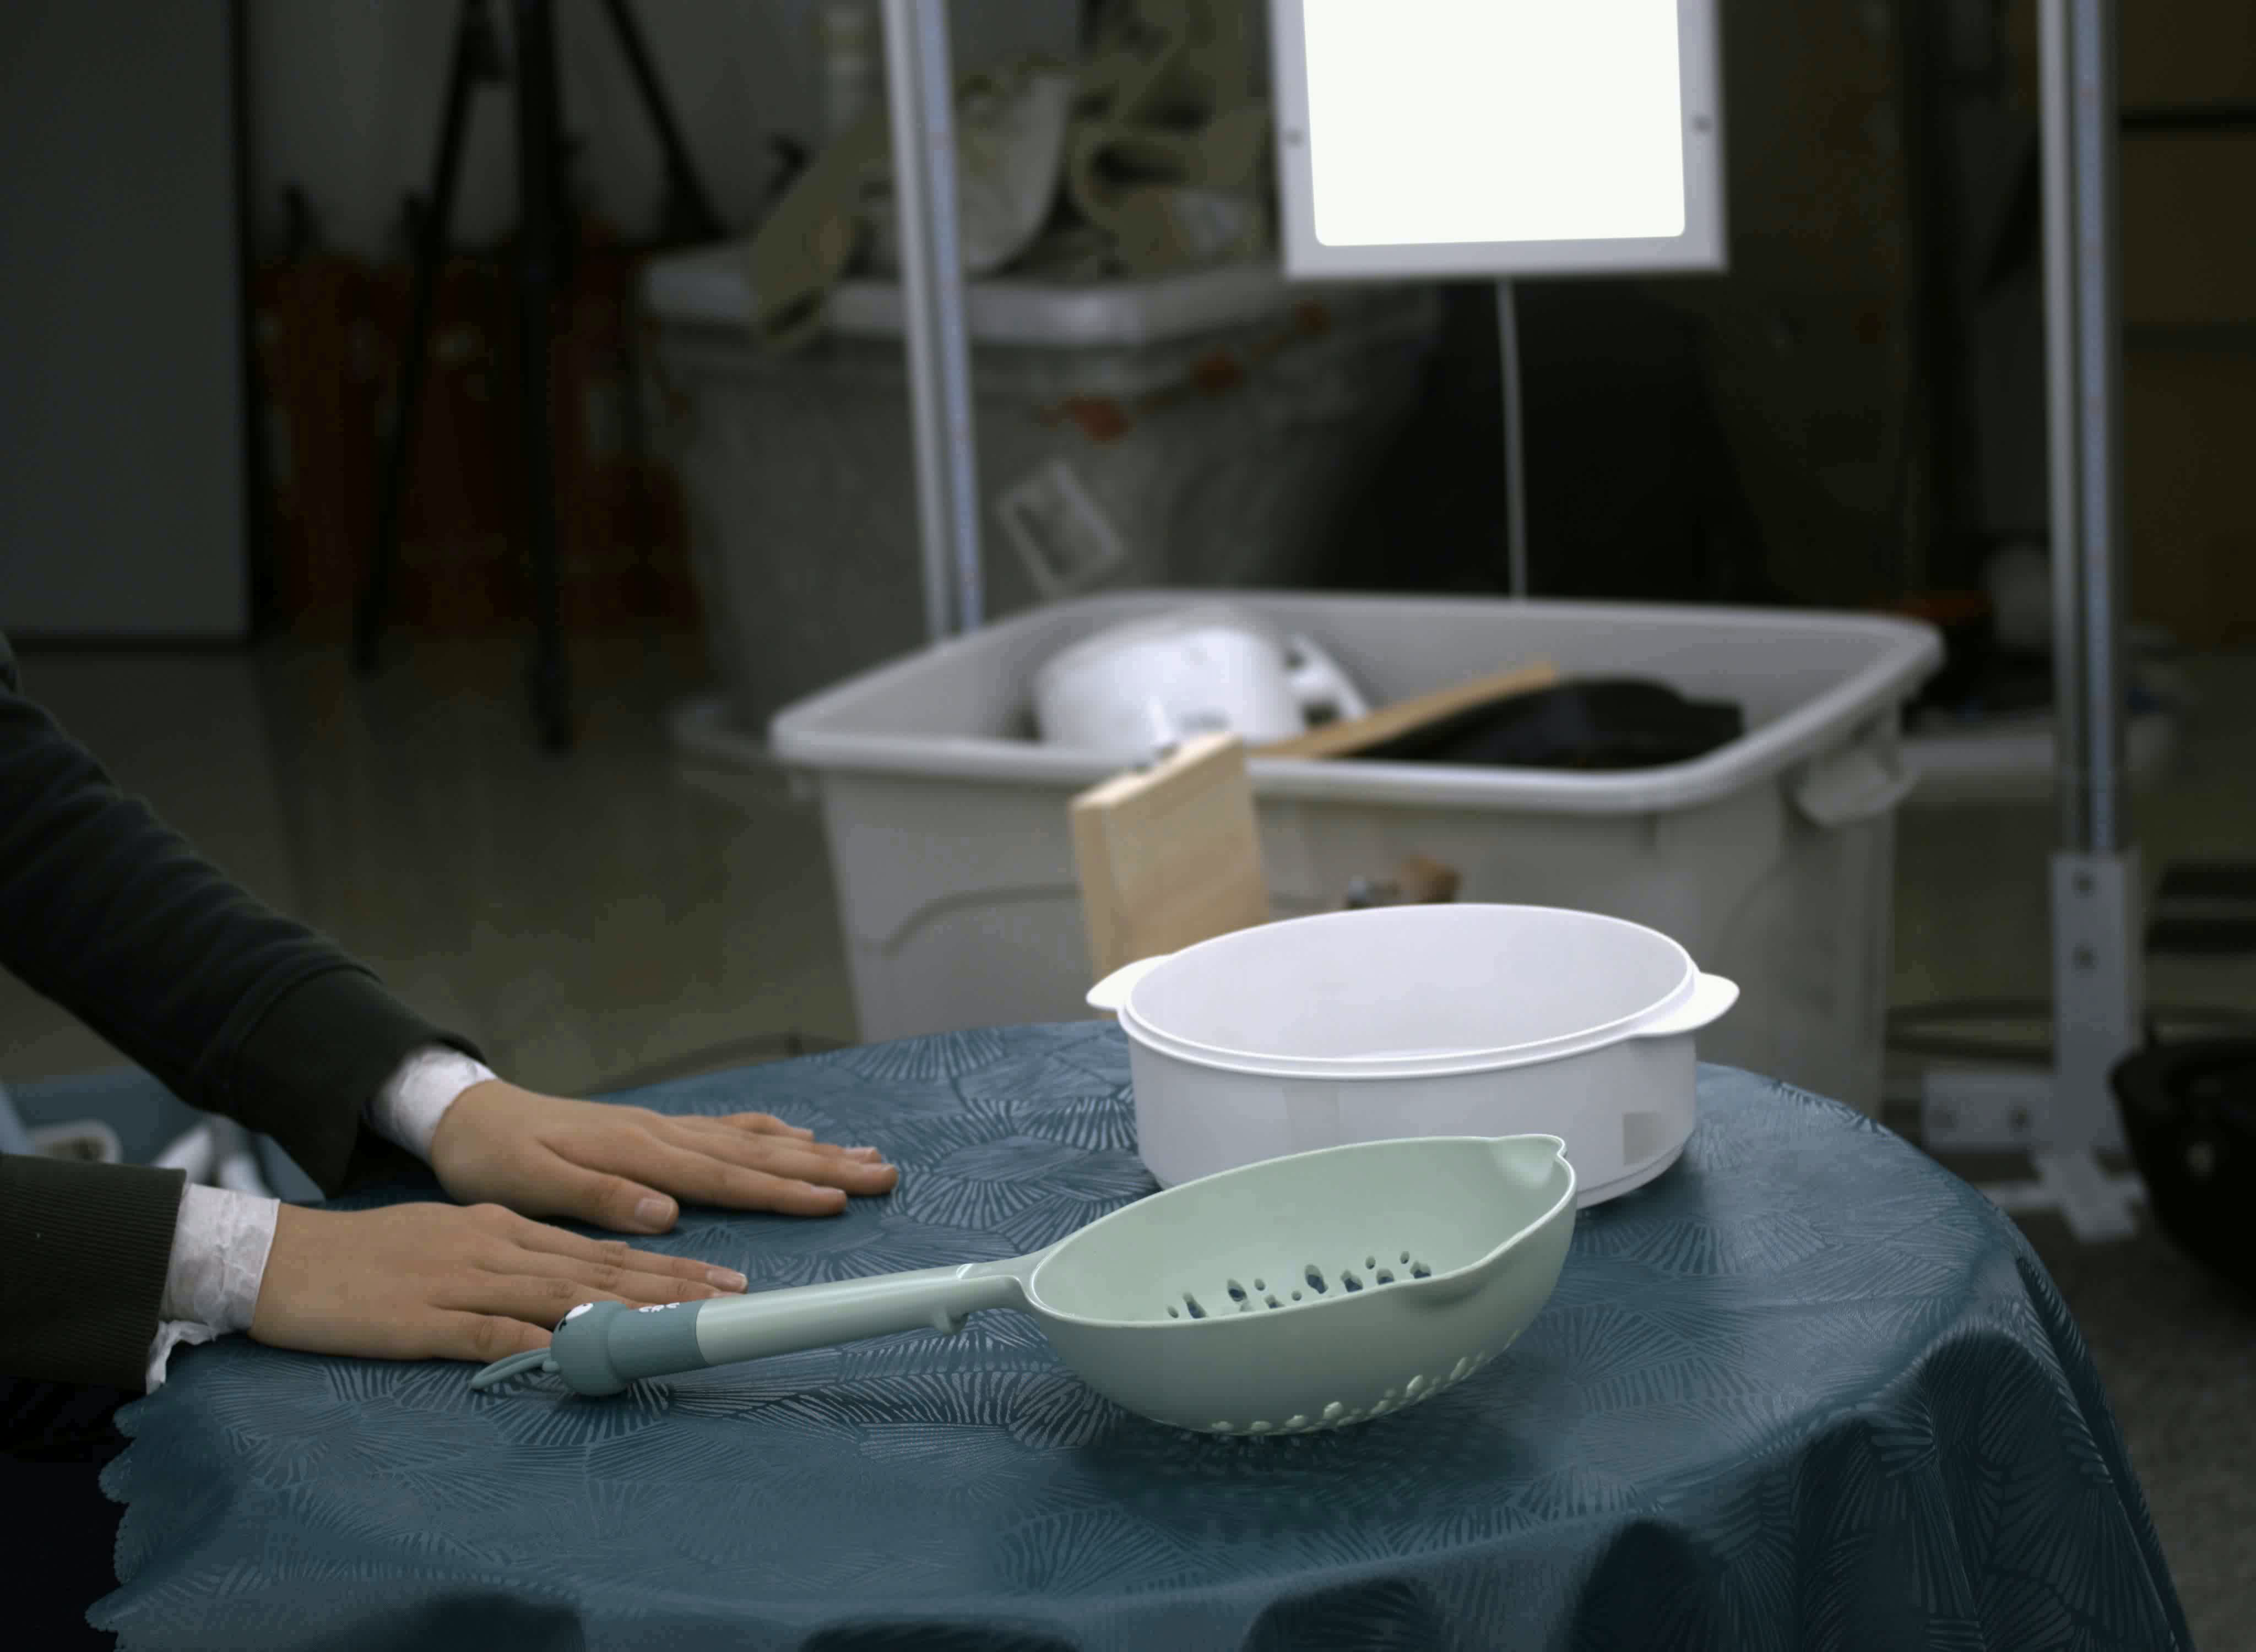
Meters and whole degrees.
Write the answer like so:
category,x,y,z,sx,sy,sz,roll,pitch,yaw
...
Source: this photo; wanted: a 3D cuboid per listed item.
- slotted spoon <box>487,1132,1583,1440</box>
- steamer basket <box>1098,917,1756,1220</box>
category,x,y,z,sx,sy,sz,roll,pitch,yaw
slotted spoon,-0.035,0.147,1.694,0.363,0.075,0.166,-1,14,19
steamer basket,0.103,0.086,1.890,0.234,0.069,0.198,1,14,24
